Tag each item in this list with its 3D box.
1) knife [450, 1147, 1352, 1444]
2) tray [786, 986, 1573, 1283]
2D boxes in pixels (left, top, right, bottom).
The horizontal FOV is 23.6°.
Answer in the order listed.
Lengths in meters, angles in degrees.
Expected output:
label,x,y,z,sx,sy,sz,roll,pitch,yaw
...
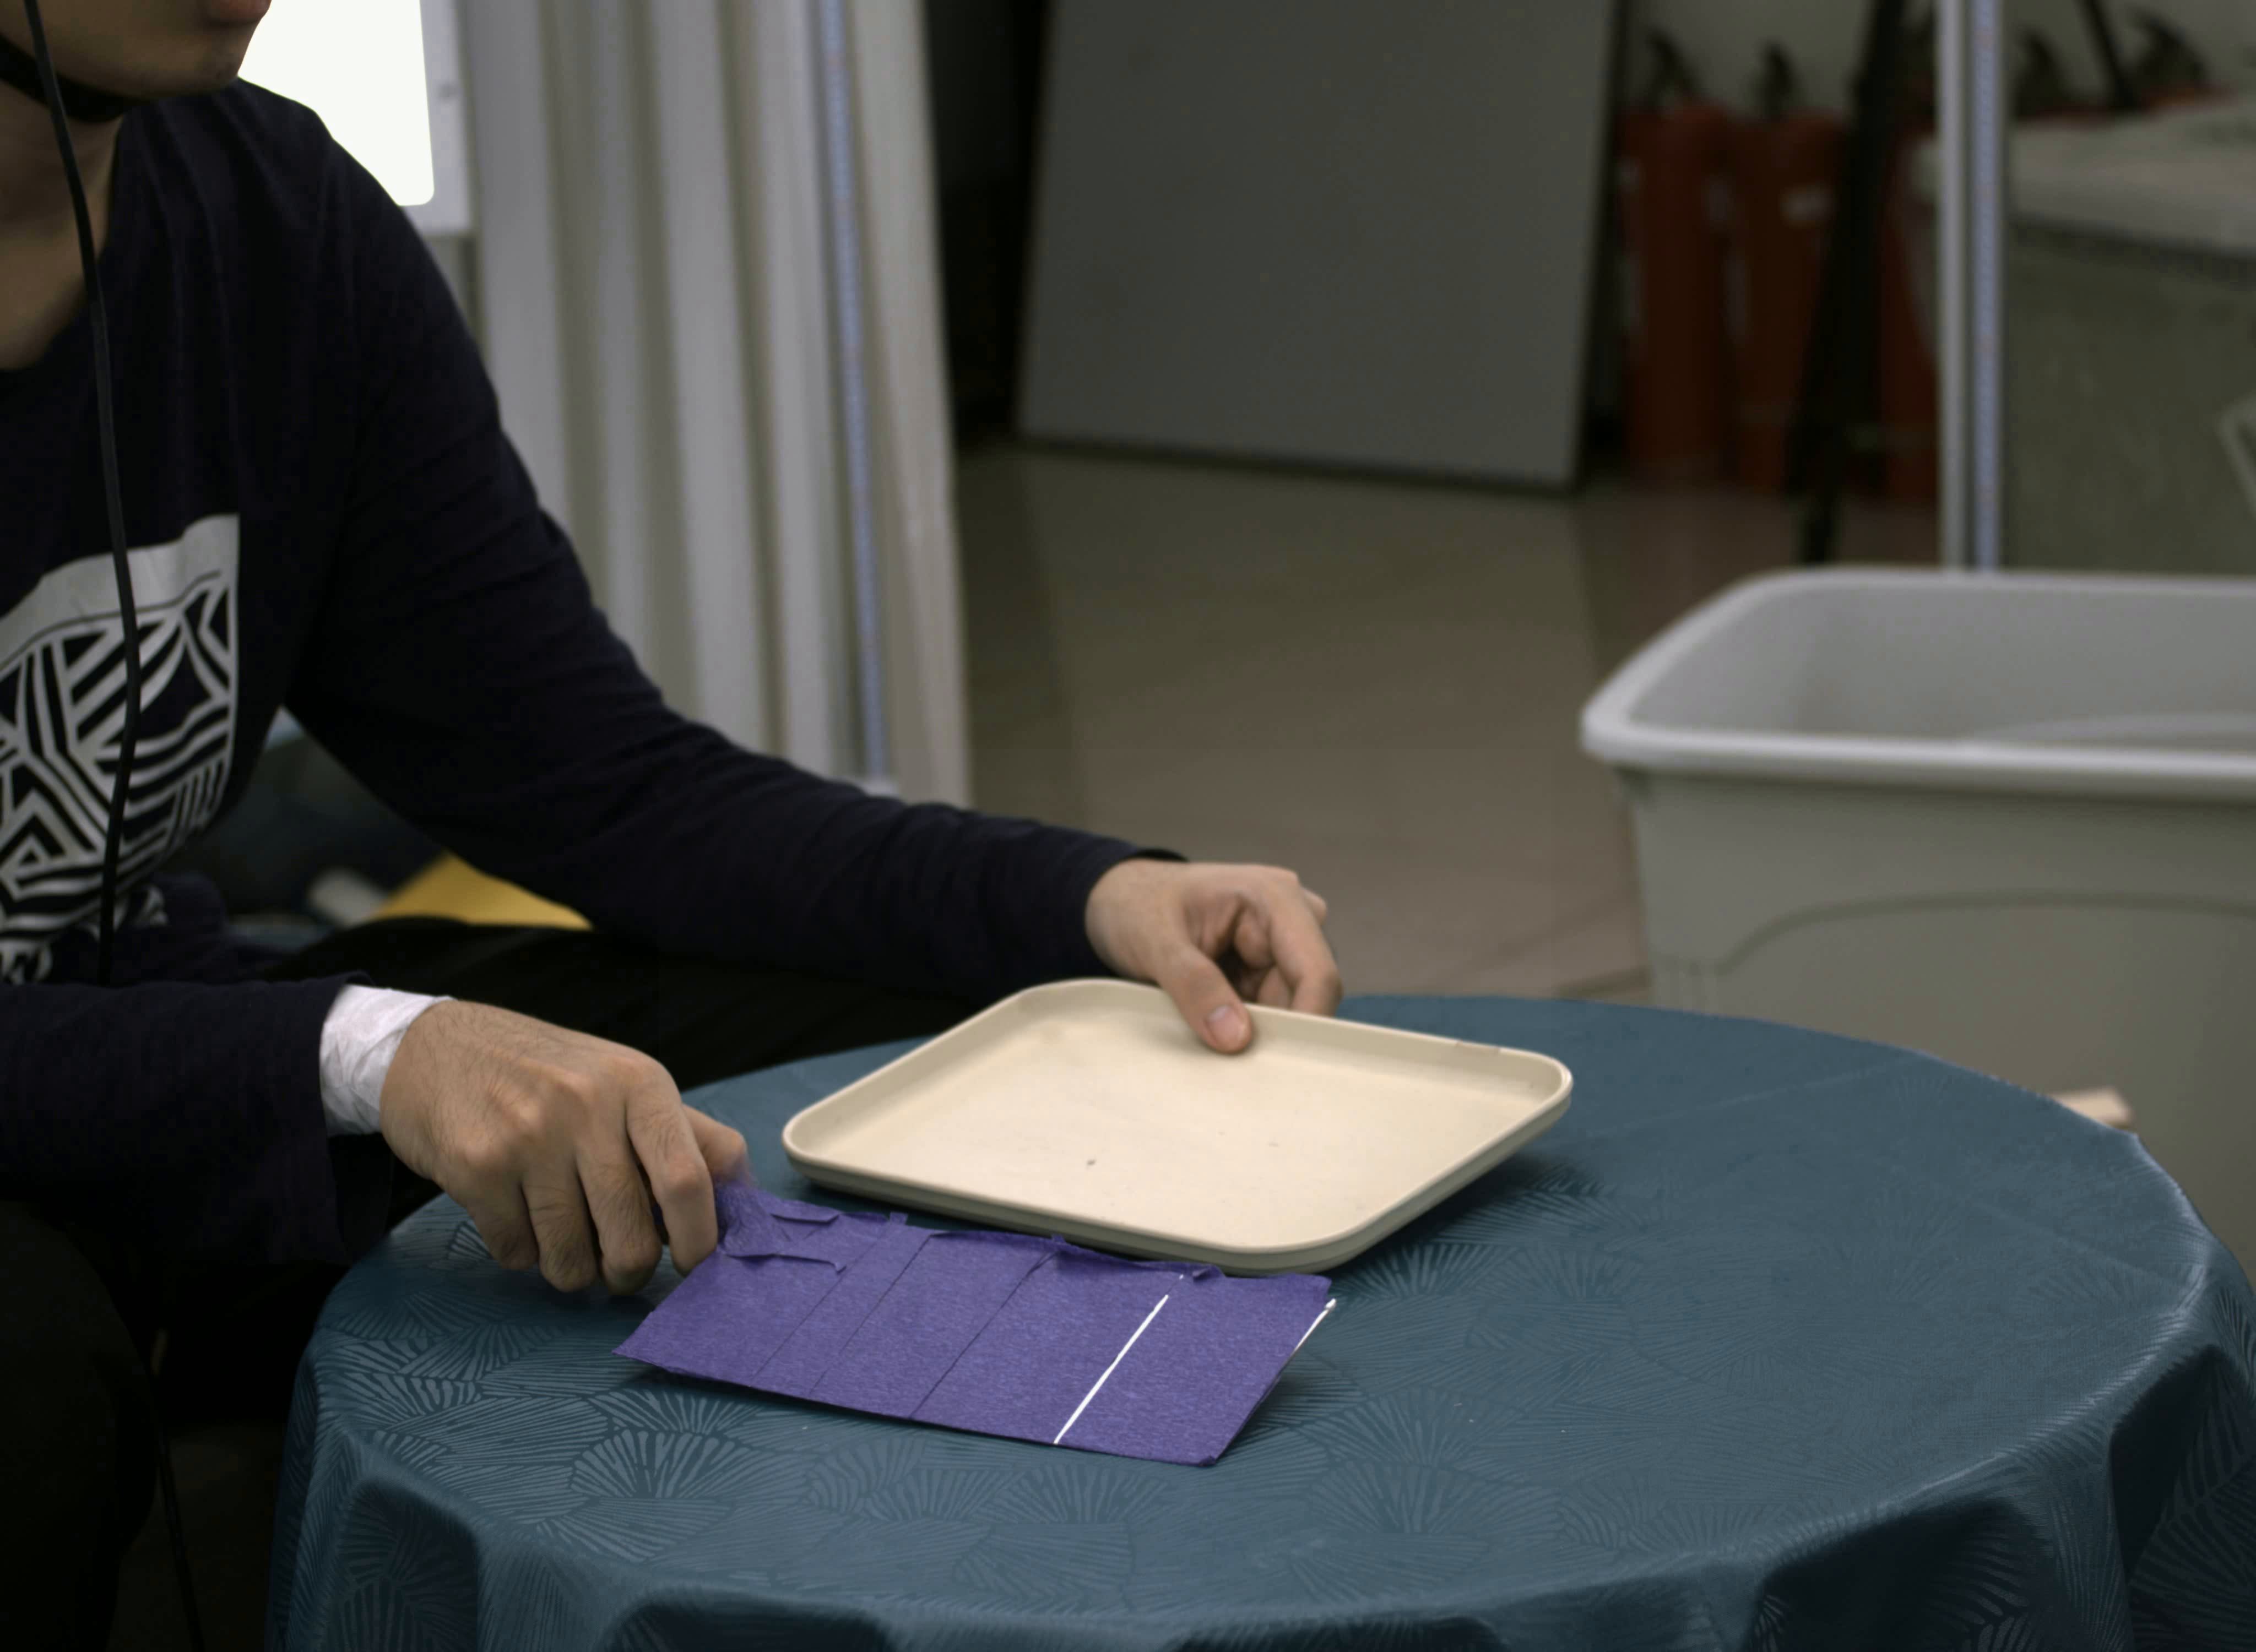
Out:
label,x,y,z,sx,sy,sz,roll,pitch,yaw
knife,-0.089,0.140,1.629,0.316,0.032,0.103,4,29,31
tray,0.017,0.101,1.784,0.241,0.017,0.168,8,25,40
